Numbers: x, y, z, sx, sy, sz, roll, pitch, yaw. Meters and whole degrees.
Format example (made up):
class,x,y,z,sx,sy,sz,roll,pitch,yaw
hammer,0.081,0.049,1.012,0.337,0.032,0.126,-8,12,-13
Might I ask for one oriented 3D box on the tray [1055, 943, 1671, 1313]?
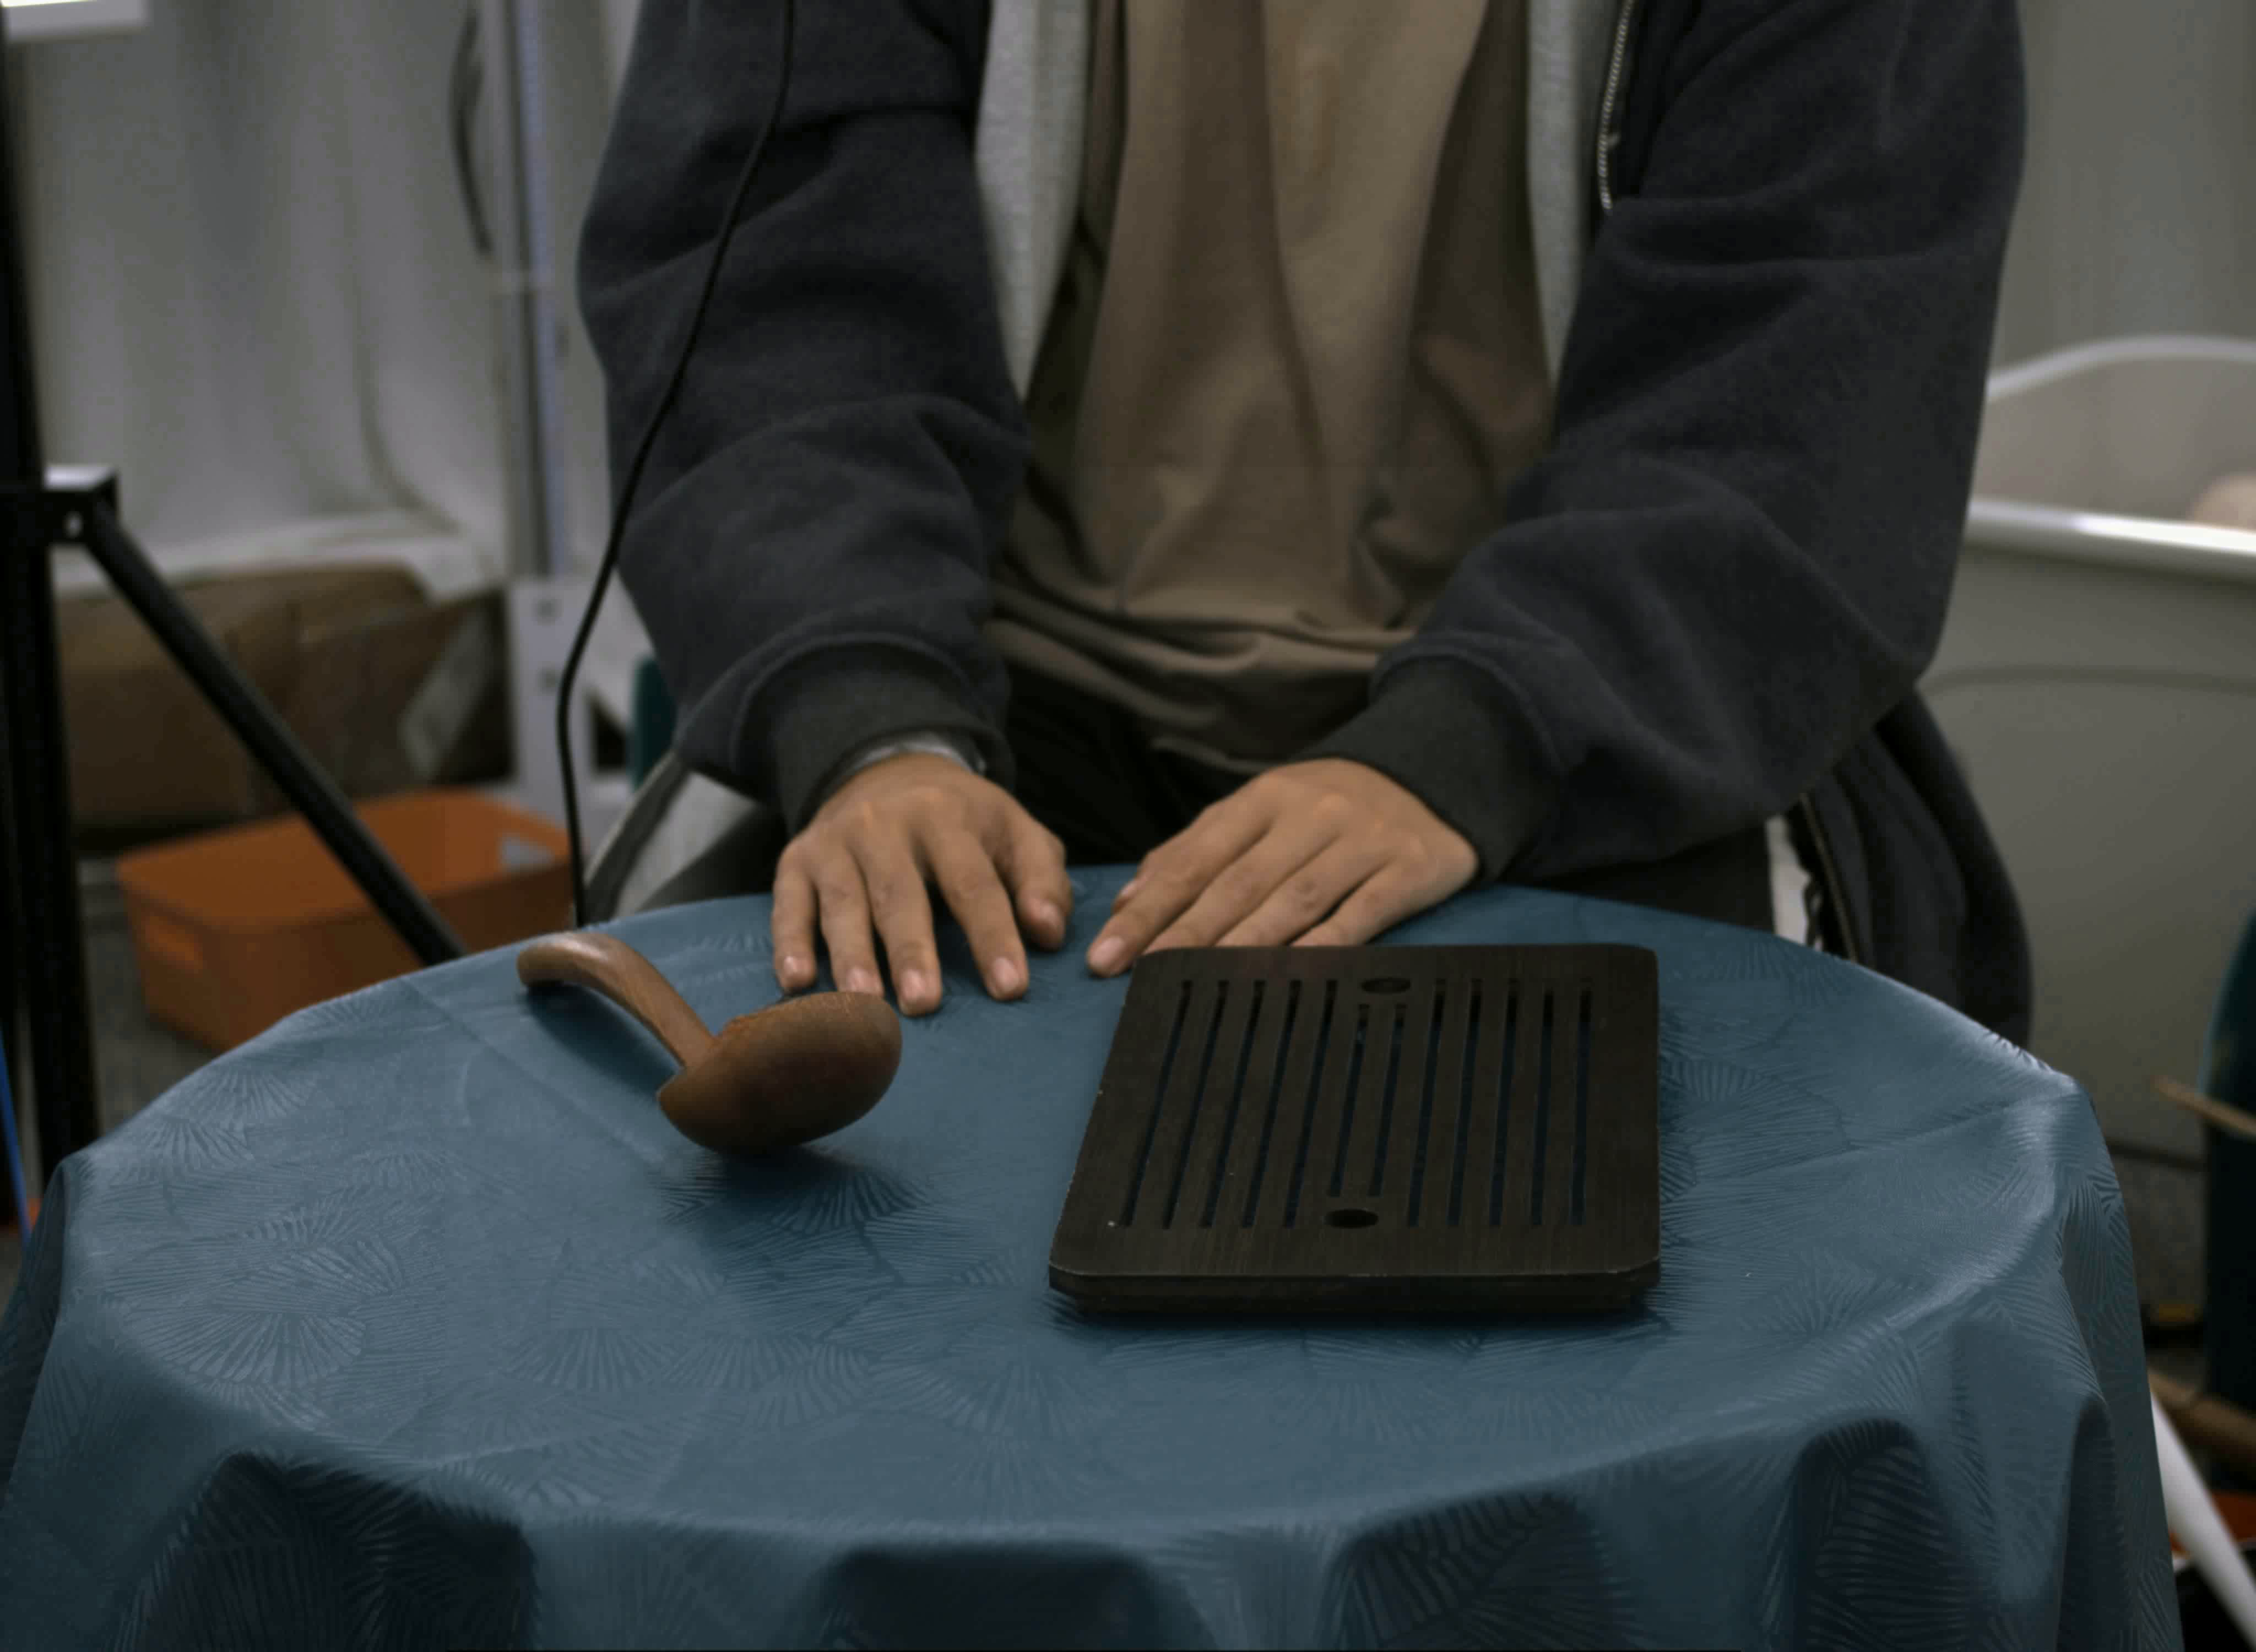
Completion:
class,x,y,z,sx,sy,sz,roll,pitch,yaw
tray,0.077,0.088,1.586,0.170,0.018,0.305,-1,16,6

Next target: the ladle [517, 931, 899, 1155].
class,x,y,z,sx,sy,sz,roll,pitch,yaw
ladle,-0.144,0.050,1.669,0.075,0.065,0.265,-8,17,-22
